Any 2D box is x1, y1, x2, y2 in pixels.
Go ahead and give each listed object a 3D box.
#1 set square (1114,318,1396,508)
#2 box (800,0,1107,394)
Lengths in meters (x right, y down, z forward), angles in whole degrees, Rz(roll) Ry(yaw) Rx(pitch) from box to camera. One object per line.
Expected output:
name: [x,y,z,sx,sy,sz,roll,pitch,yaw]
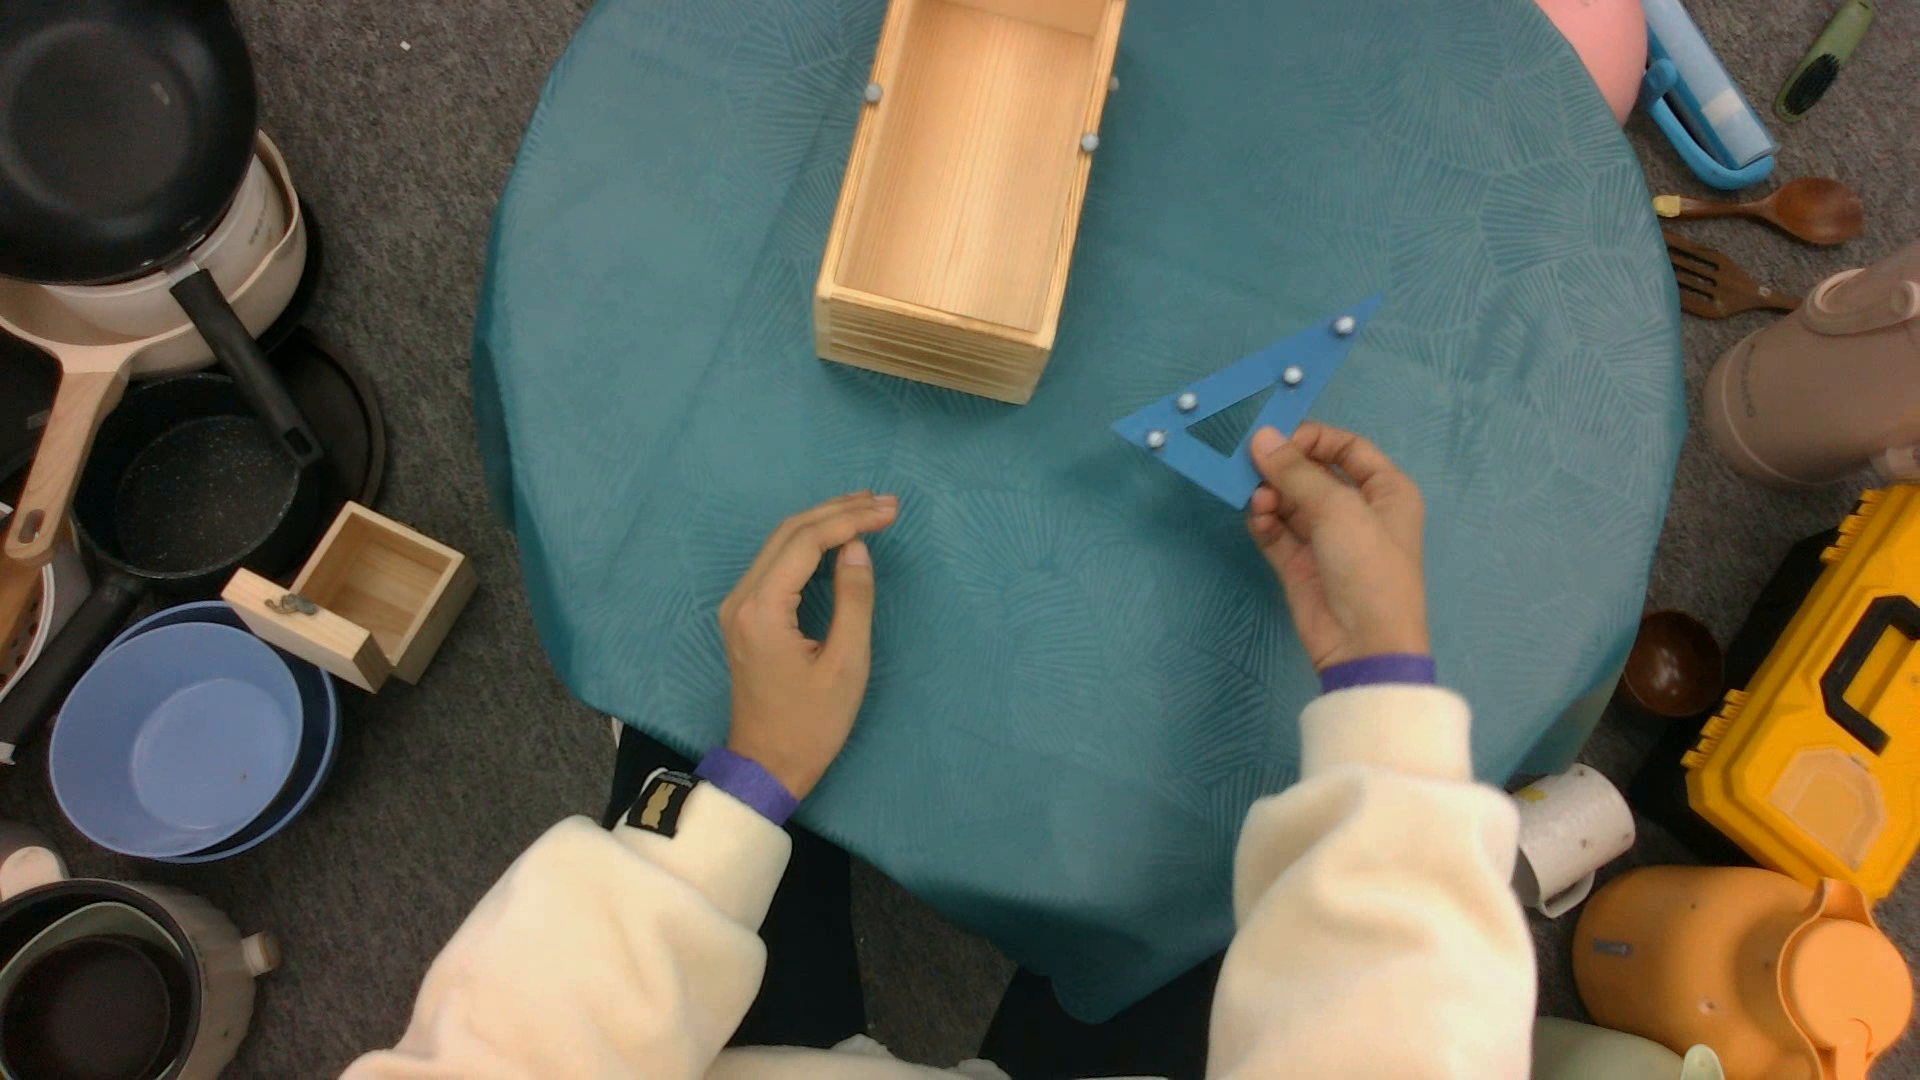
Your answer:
set square: [0.139,-0.054,0.609,0.132,0.006,0.061,-20,76,-2]
box: [0.000,-0.189,0.655,0.107,0.080,0.212,12,75,-3]
